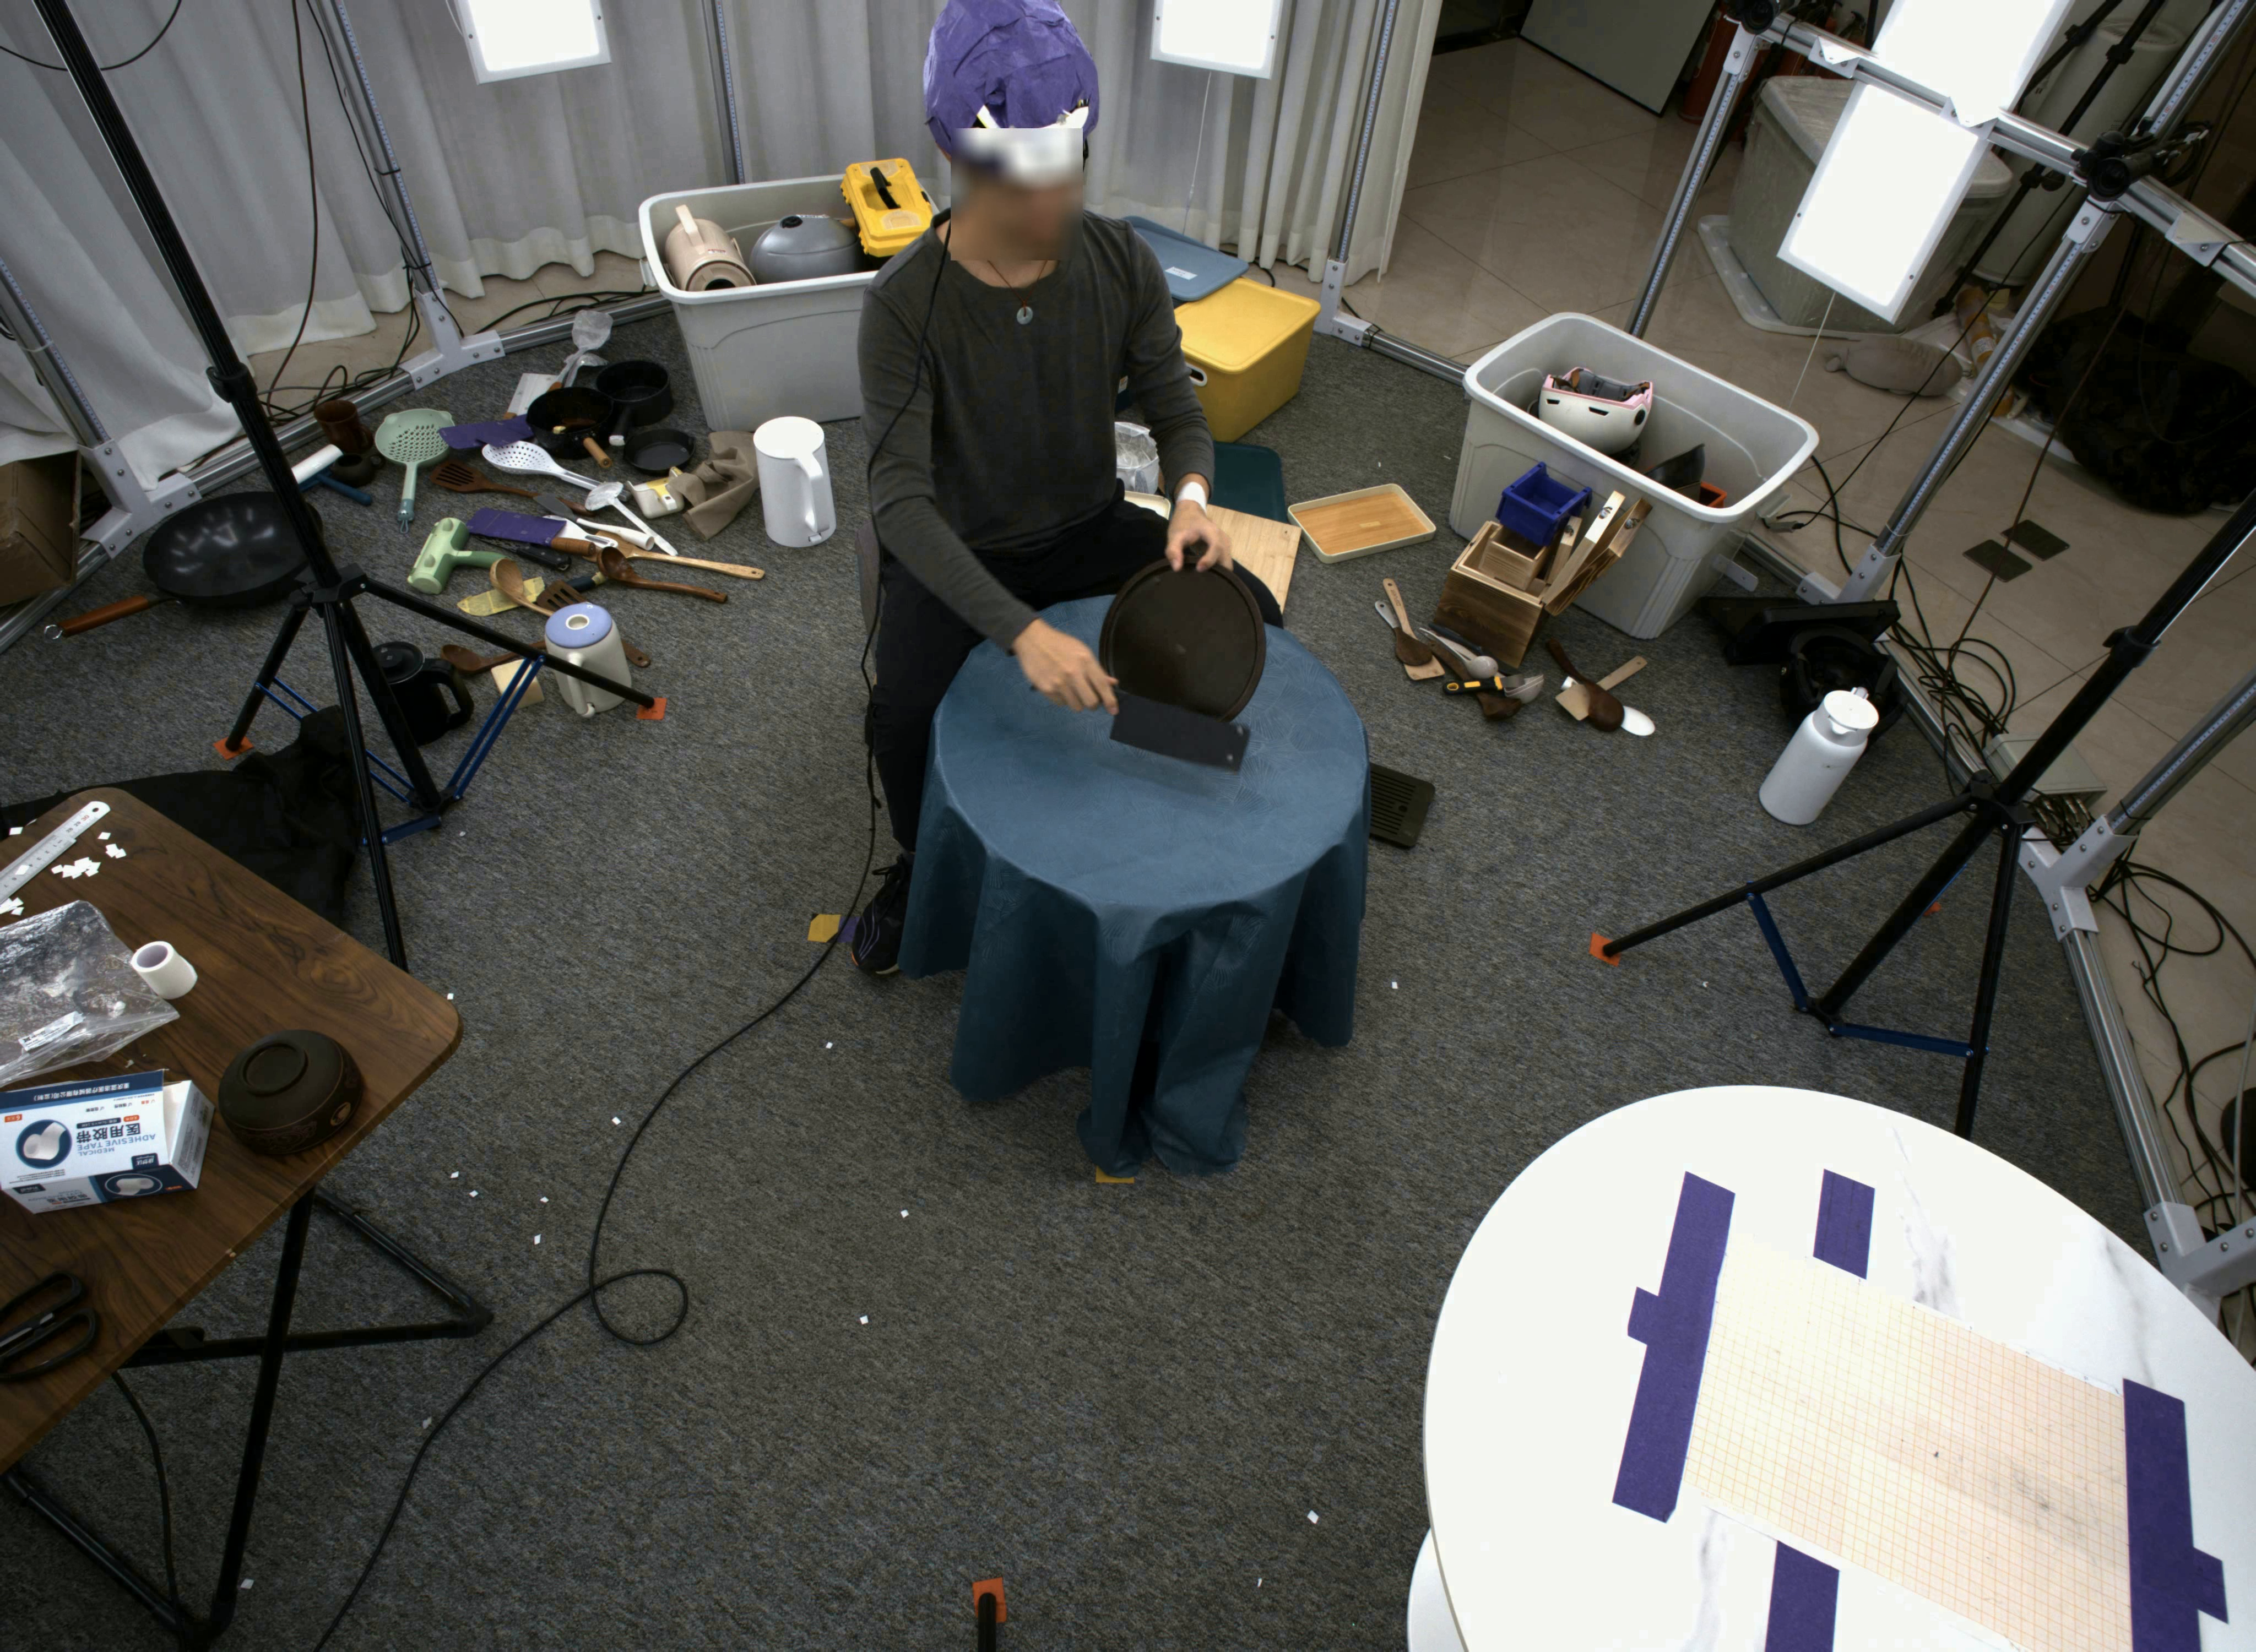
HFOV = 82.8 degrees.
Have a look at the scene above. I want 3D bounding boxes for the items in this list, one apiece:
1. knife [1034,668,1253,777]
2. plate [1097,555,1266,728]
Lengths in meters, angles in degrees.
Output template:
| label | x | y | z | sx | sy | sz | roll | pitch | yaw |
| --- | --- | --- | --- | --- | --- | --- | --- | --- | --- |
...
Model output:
| label | x | y | z | sx | sy | sz | roll | pitch | yaw |
| --- | --- | --- | --- | --- | --- | --- | --- | --- | --- |
| knife | 0.016 | -0.140 | 1.691 | 0.304 | 0.080 | 0.021 | 23 | 6 | 11 |
| plate | 0.071 | -0.242 | 1.755 | 0.258 | 0.252 | 0.029 | 35 | 18 | 23 |
